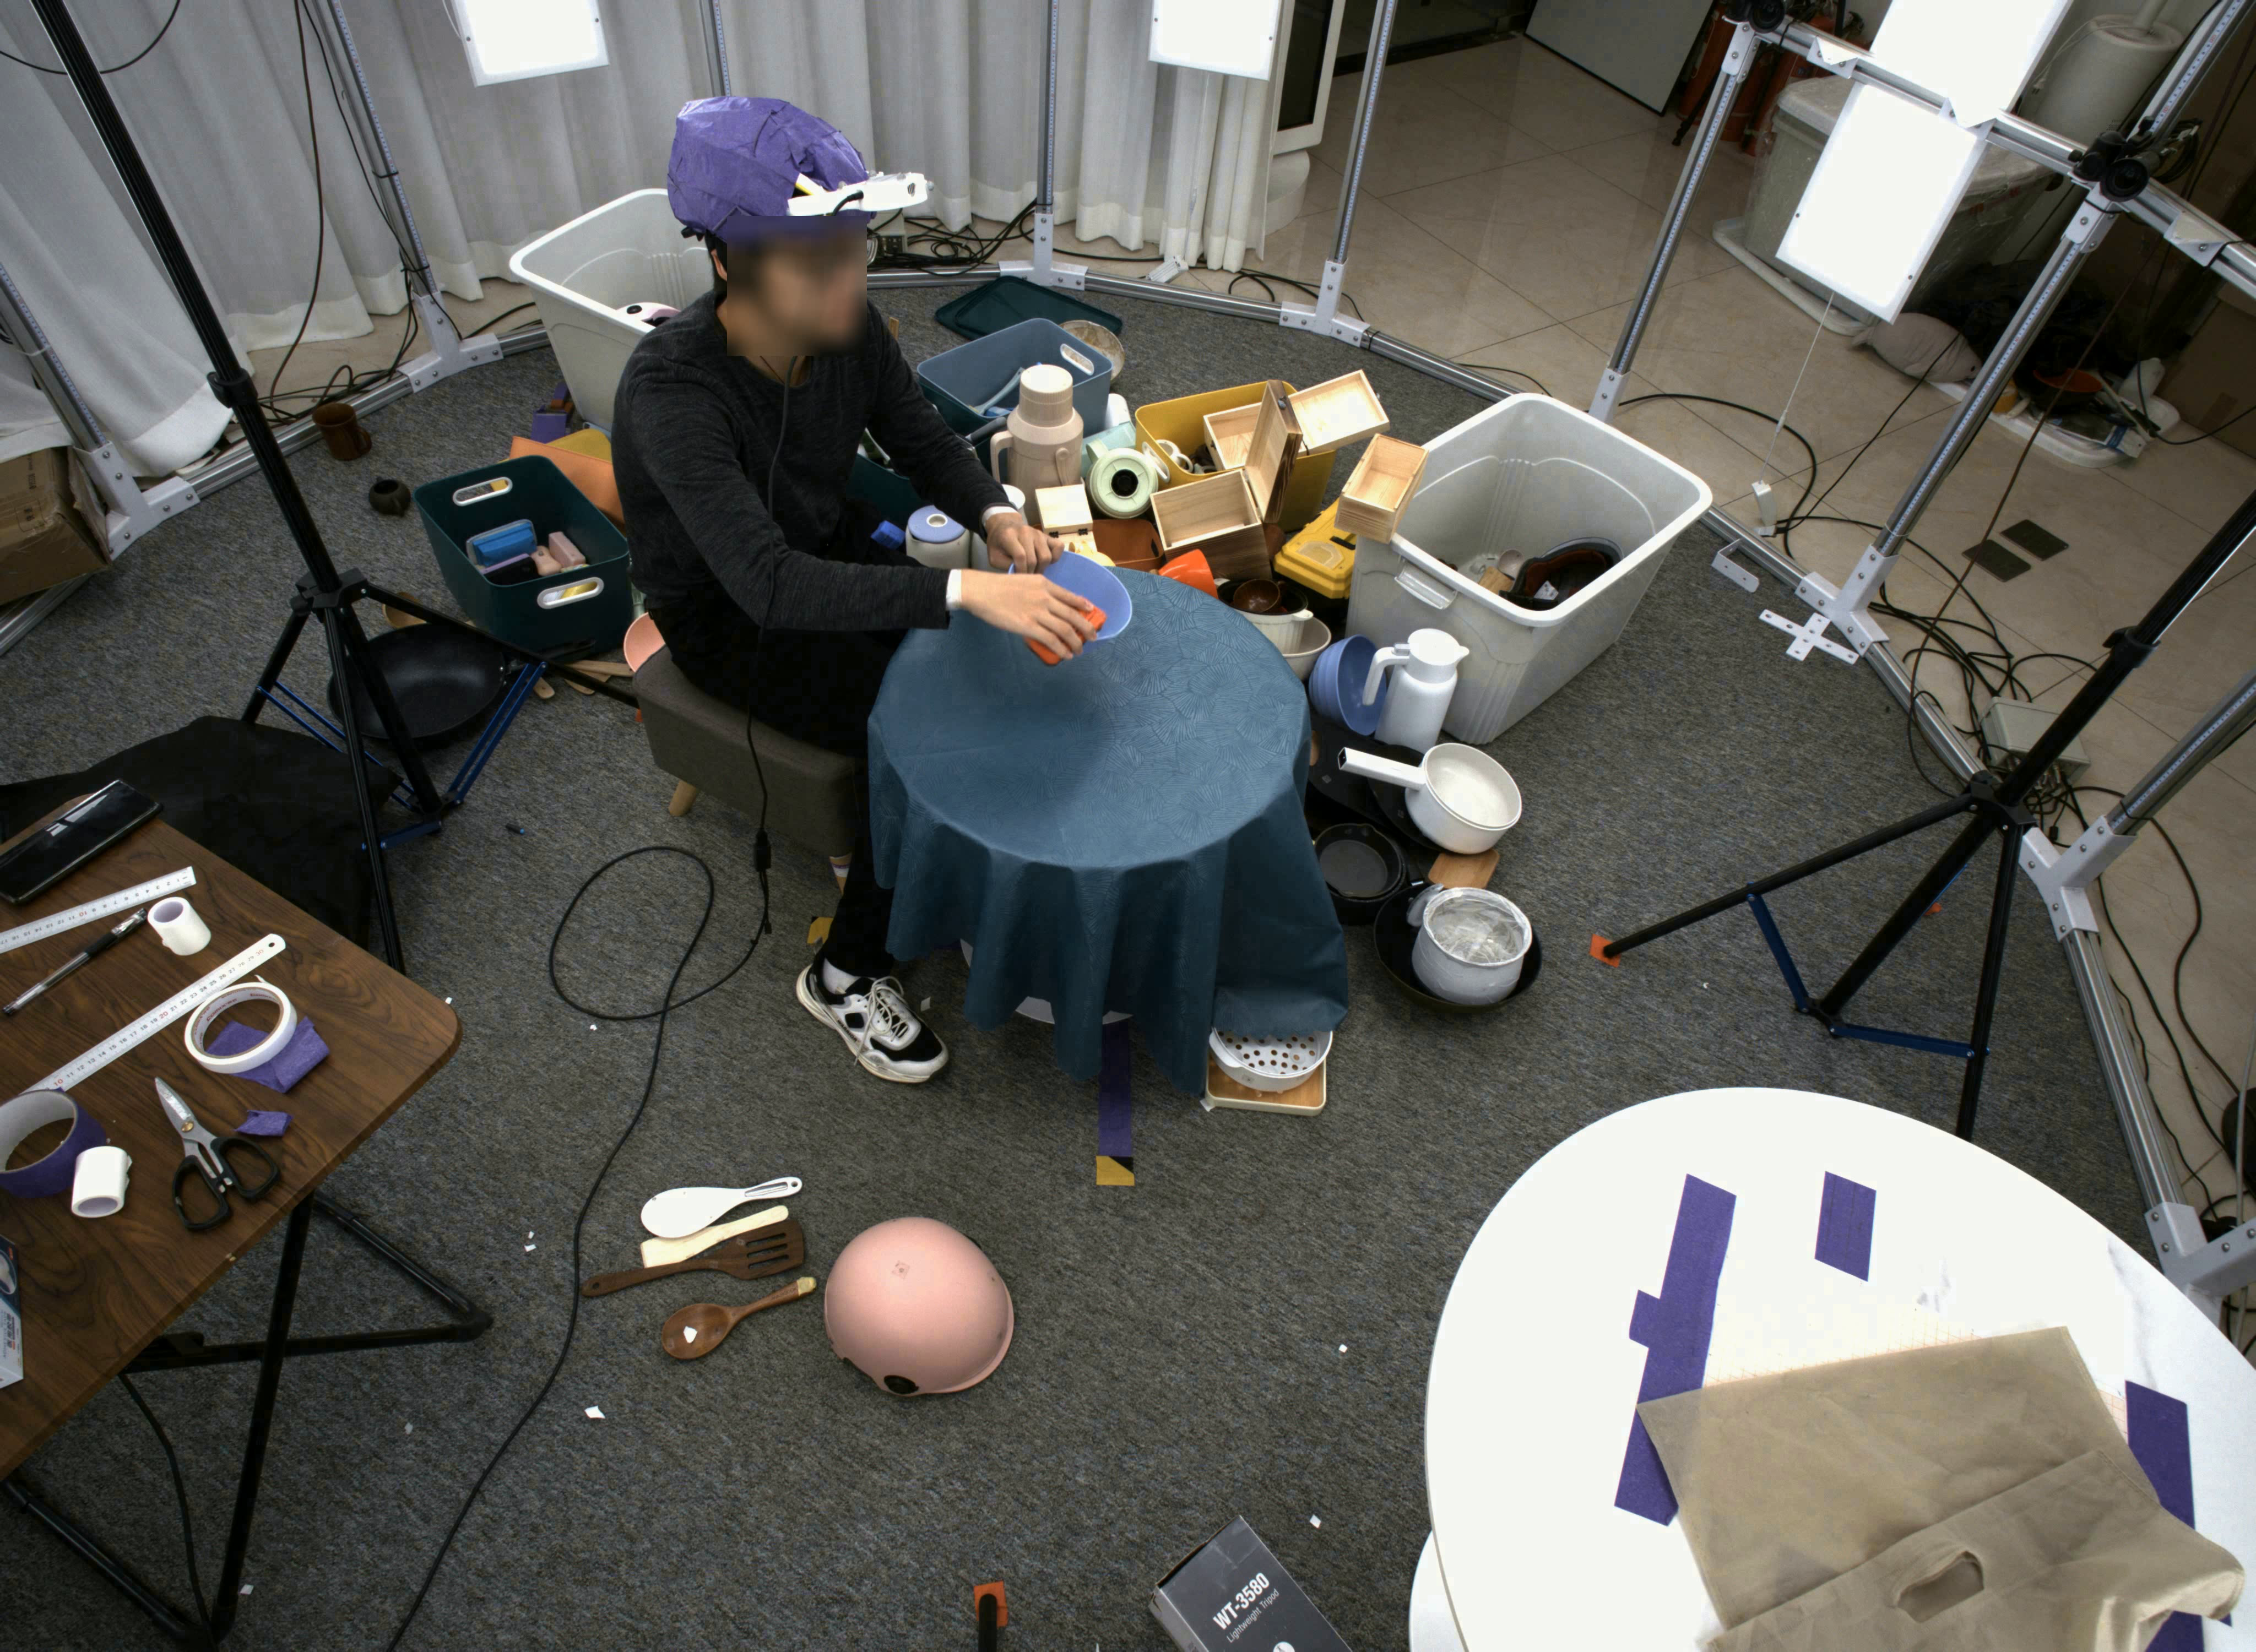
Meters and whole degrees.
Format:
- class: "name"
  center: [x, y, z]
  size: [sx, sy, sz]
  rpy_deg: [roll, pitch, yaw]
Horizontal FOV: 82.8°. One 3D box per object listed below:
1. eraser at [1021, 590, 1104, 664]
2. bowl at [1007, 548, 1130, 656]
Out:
- class: "eraser"
  center: [-0.084, -0.258, 1.661]
  size: [0.059, 0.022, 0.109]
  rpy_deg: [41, 57, 8]
- class: "bowl"
  center: [-0.089, -0.295, 1.751]
  size: [0.175, 0.069, 0.180]
  rpy_deg: [13, 47, -15]
